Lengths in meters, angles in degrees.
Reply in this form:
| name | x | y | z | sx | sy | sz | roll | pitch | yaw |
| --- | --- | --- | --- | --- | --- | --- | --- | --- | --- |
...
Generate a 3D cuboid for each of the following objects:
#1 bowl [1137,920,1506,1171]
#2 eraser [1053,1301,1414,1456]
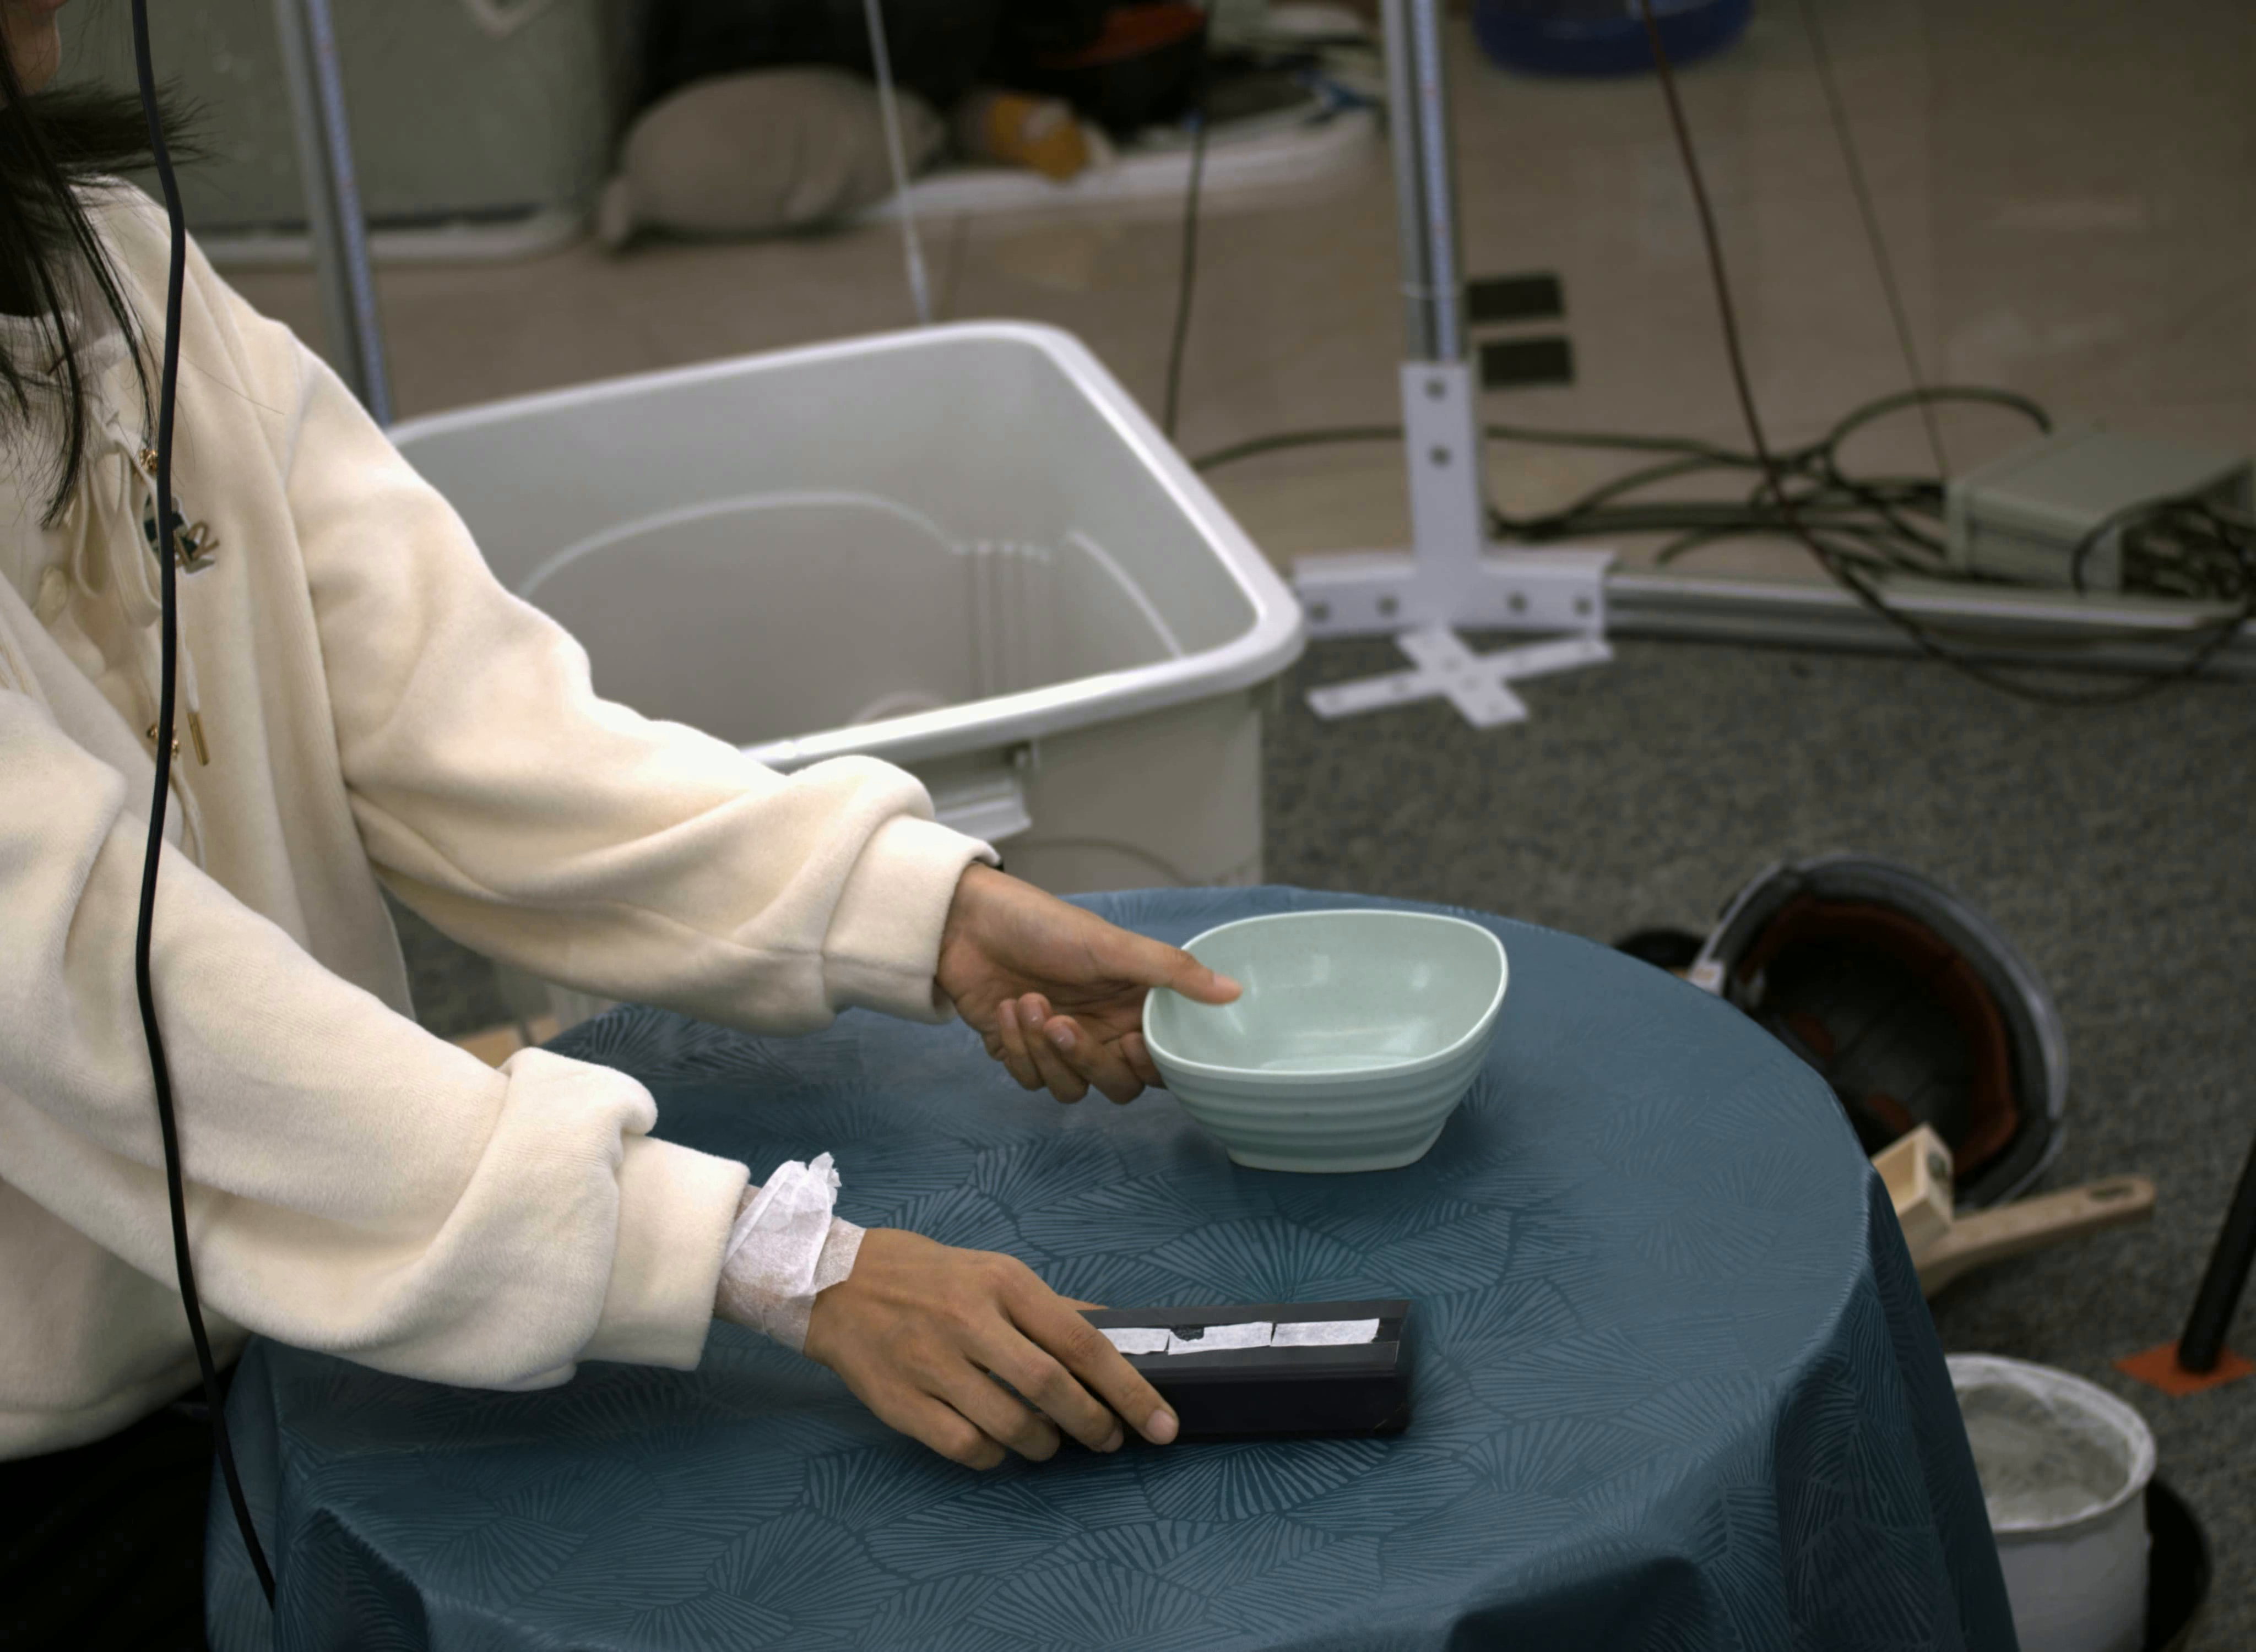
| name | x | y | z | sx | sy | sz | roll | pitch | yaw |
| --- | --- | --- | --- | --- | --- | --- | --- | --- | --- |
| bowl | 0.076 | 0.088 | 2.169 | 0.151 | 0.059 | 0.149 | -4 | 22 | 2 |
| eraser | 0.039 | 0.193 | 1.991 | 0.125 | 0.031 | 0.053 | -5 | 24 | 8 |
